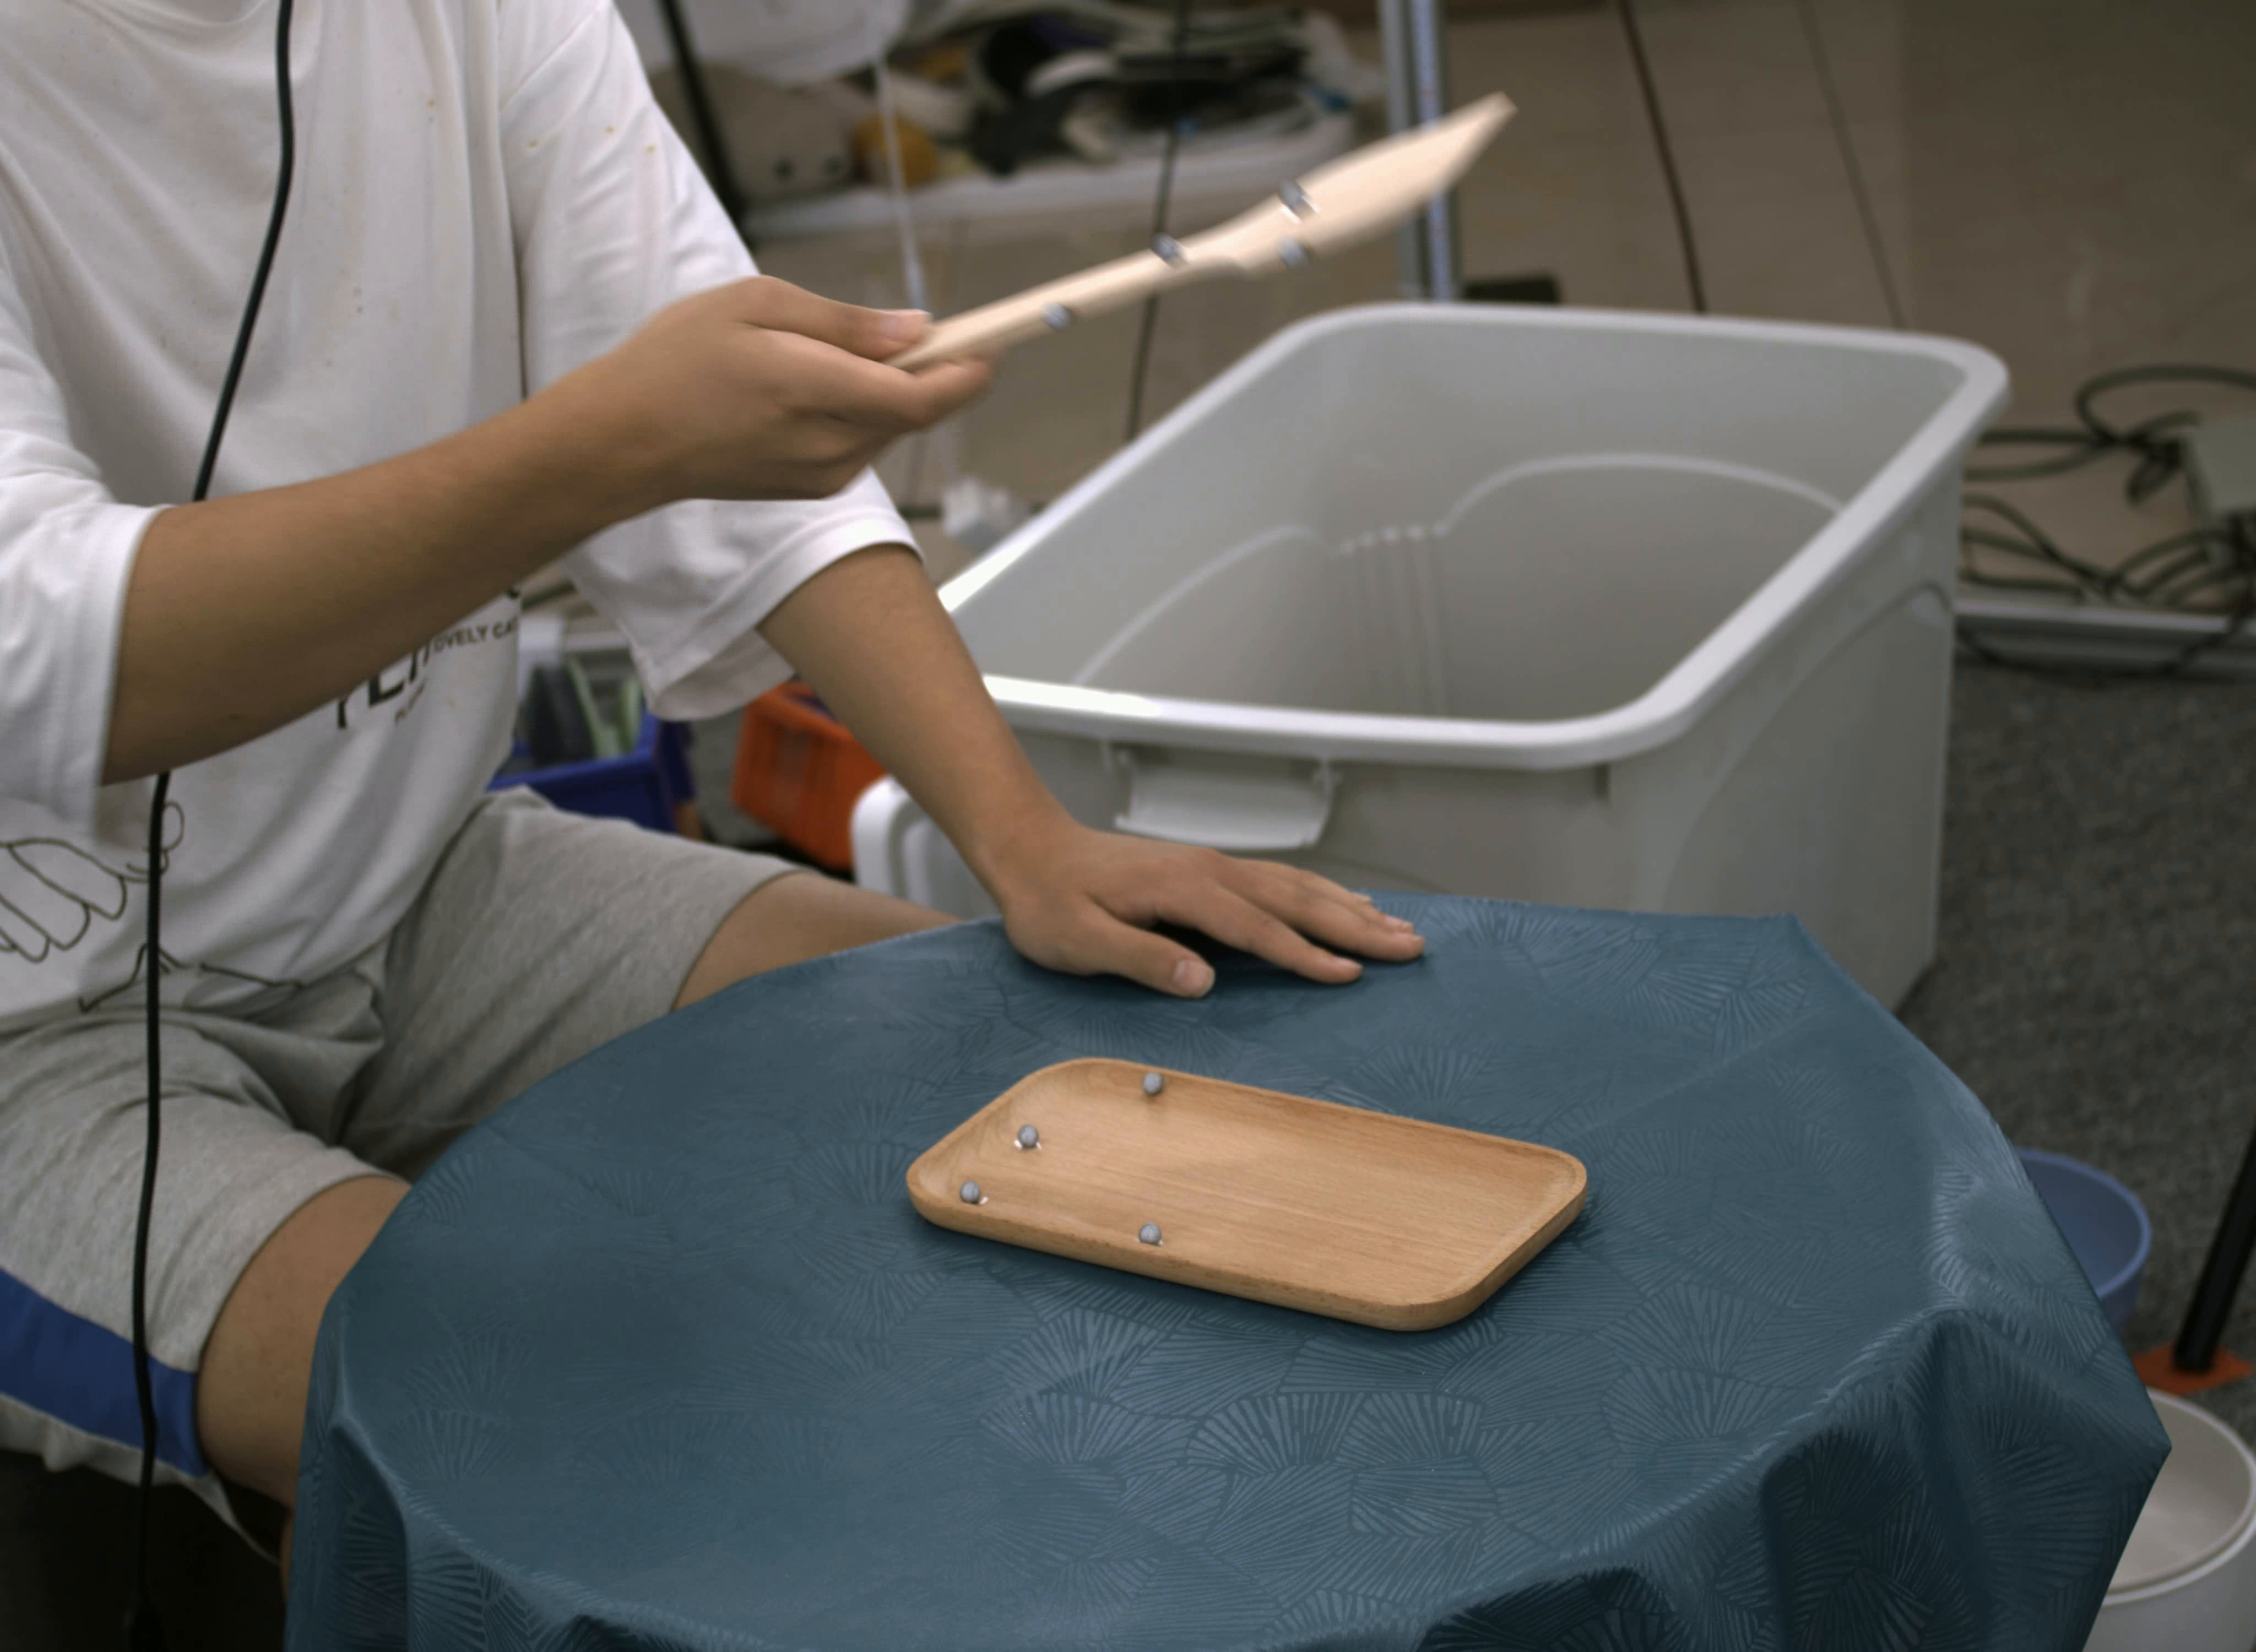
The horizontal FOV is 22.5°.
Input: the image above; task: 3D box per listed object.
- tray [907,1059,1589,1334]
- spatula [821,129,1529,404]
[{"bbox_3d":[0.043,0.137,2.121,0.249,0.023,0.129,12,33,34],"label":"tray"},{"bbox_3d":[0.007,-0.185,1.940,0.294,0.011,0.071,-14,25,37],"label":"spatula"}]
